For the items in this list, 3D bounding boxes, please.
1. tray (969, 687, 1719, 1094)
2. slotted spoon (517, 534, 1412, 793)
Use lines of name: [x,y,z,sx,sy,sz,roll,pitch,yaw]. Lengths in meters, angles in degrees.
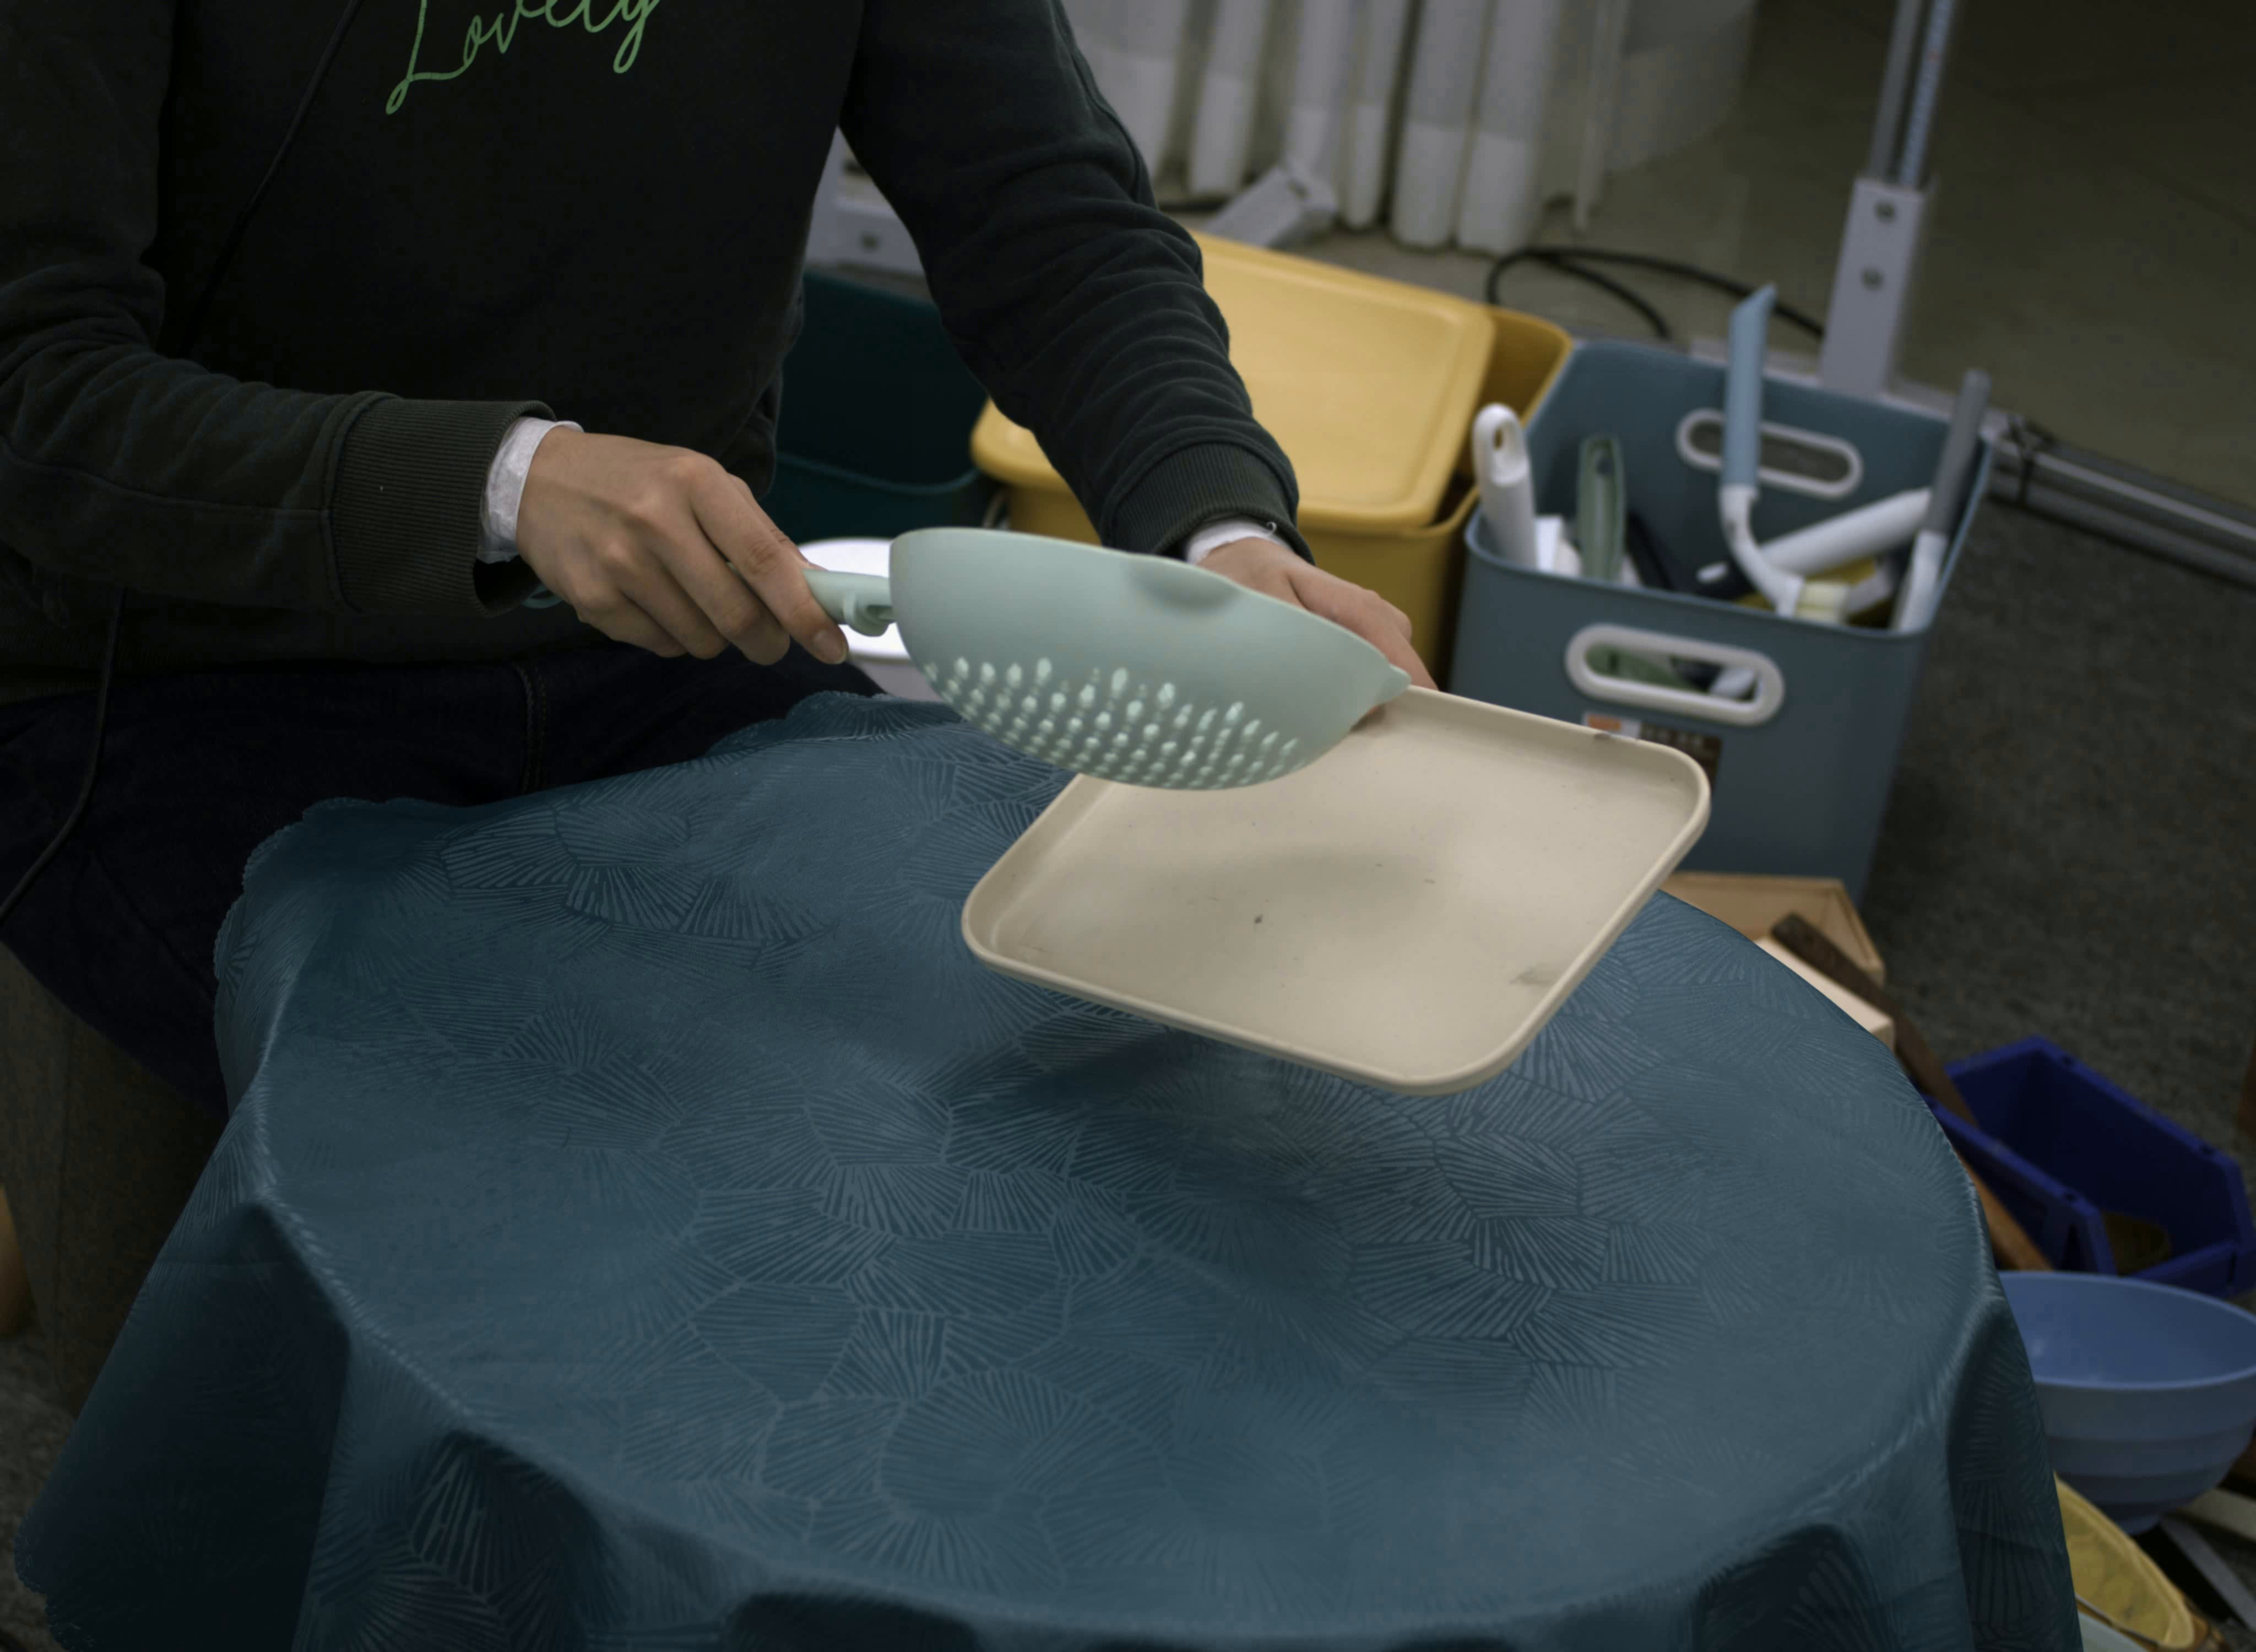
tray: [0.073,0.016,1.818,0.241,0.017,0.171,13,49,40]
slotted spoon: [-0.075,-0.067,1.810,0.361,0.075,0.168,16,-6,40]
